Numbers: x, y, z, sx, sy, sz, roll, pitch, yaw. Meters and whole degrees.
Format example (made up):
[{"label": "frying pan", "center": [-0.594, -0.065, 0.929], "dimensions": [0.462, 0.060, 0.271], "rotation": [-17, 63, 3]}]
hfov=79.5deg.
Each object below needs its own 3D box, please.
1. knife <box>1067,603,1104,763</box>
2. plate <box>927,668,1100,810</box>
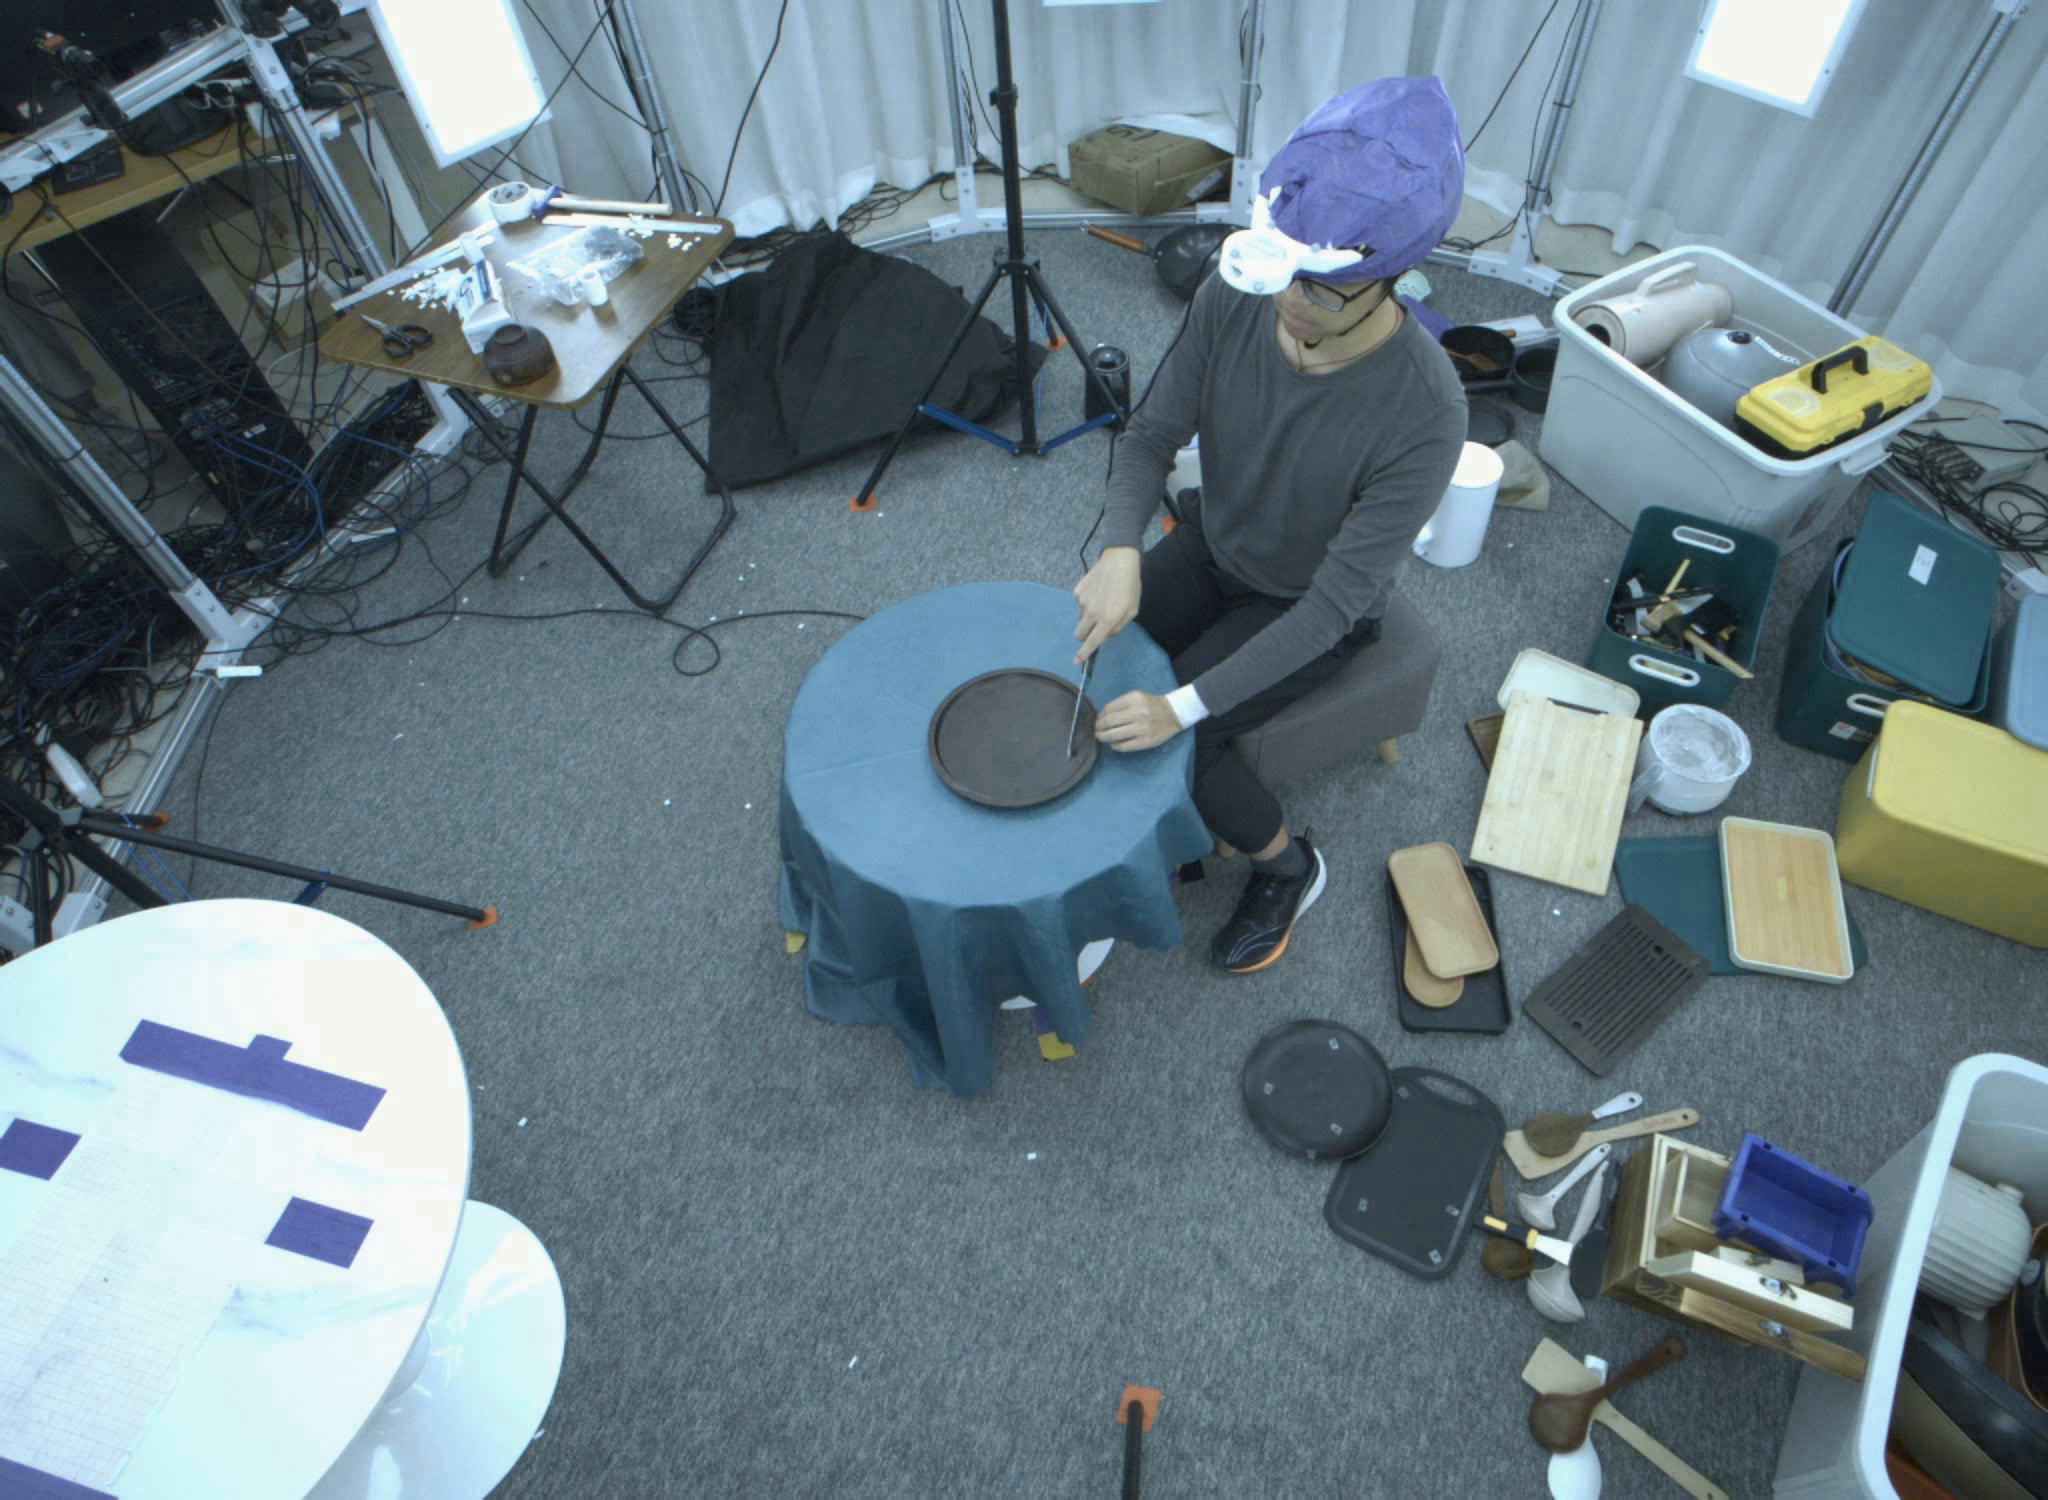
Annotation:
[{"label": "knife", "center": [0.085, -0.098, 1.772], "dimensions": [0.016, 0.024, 0.238], "rotation": [11, 87, 9]}, {"label": "plate", "center": [-0.015, -0.018, 1.794], "dimensions": [0.254, 0.029, 0.252], "rotation": [0, 56, 2]}]
